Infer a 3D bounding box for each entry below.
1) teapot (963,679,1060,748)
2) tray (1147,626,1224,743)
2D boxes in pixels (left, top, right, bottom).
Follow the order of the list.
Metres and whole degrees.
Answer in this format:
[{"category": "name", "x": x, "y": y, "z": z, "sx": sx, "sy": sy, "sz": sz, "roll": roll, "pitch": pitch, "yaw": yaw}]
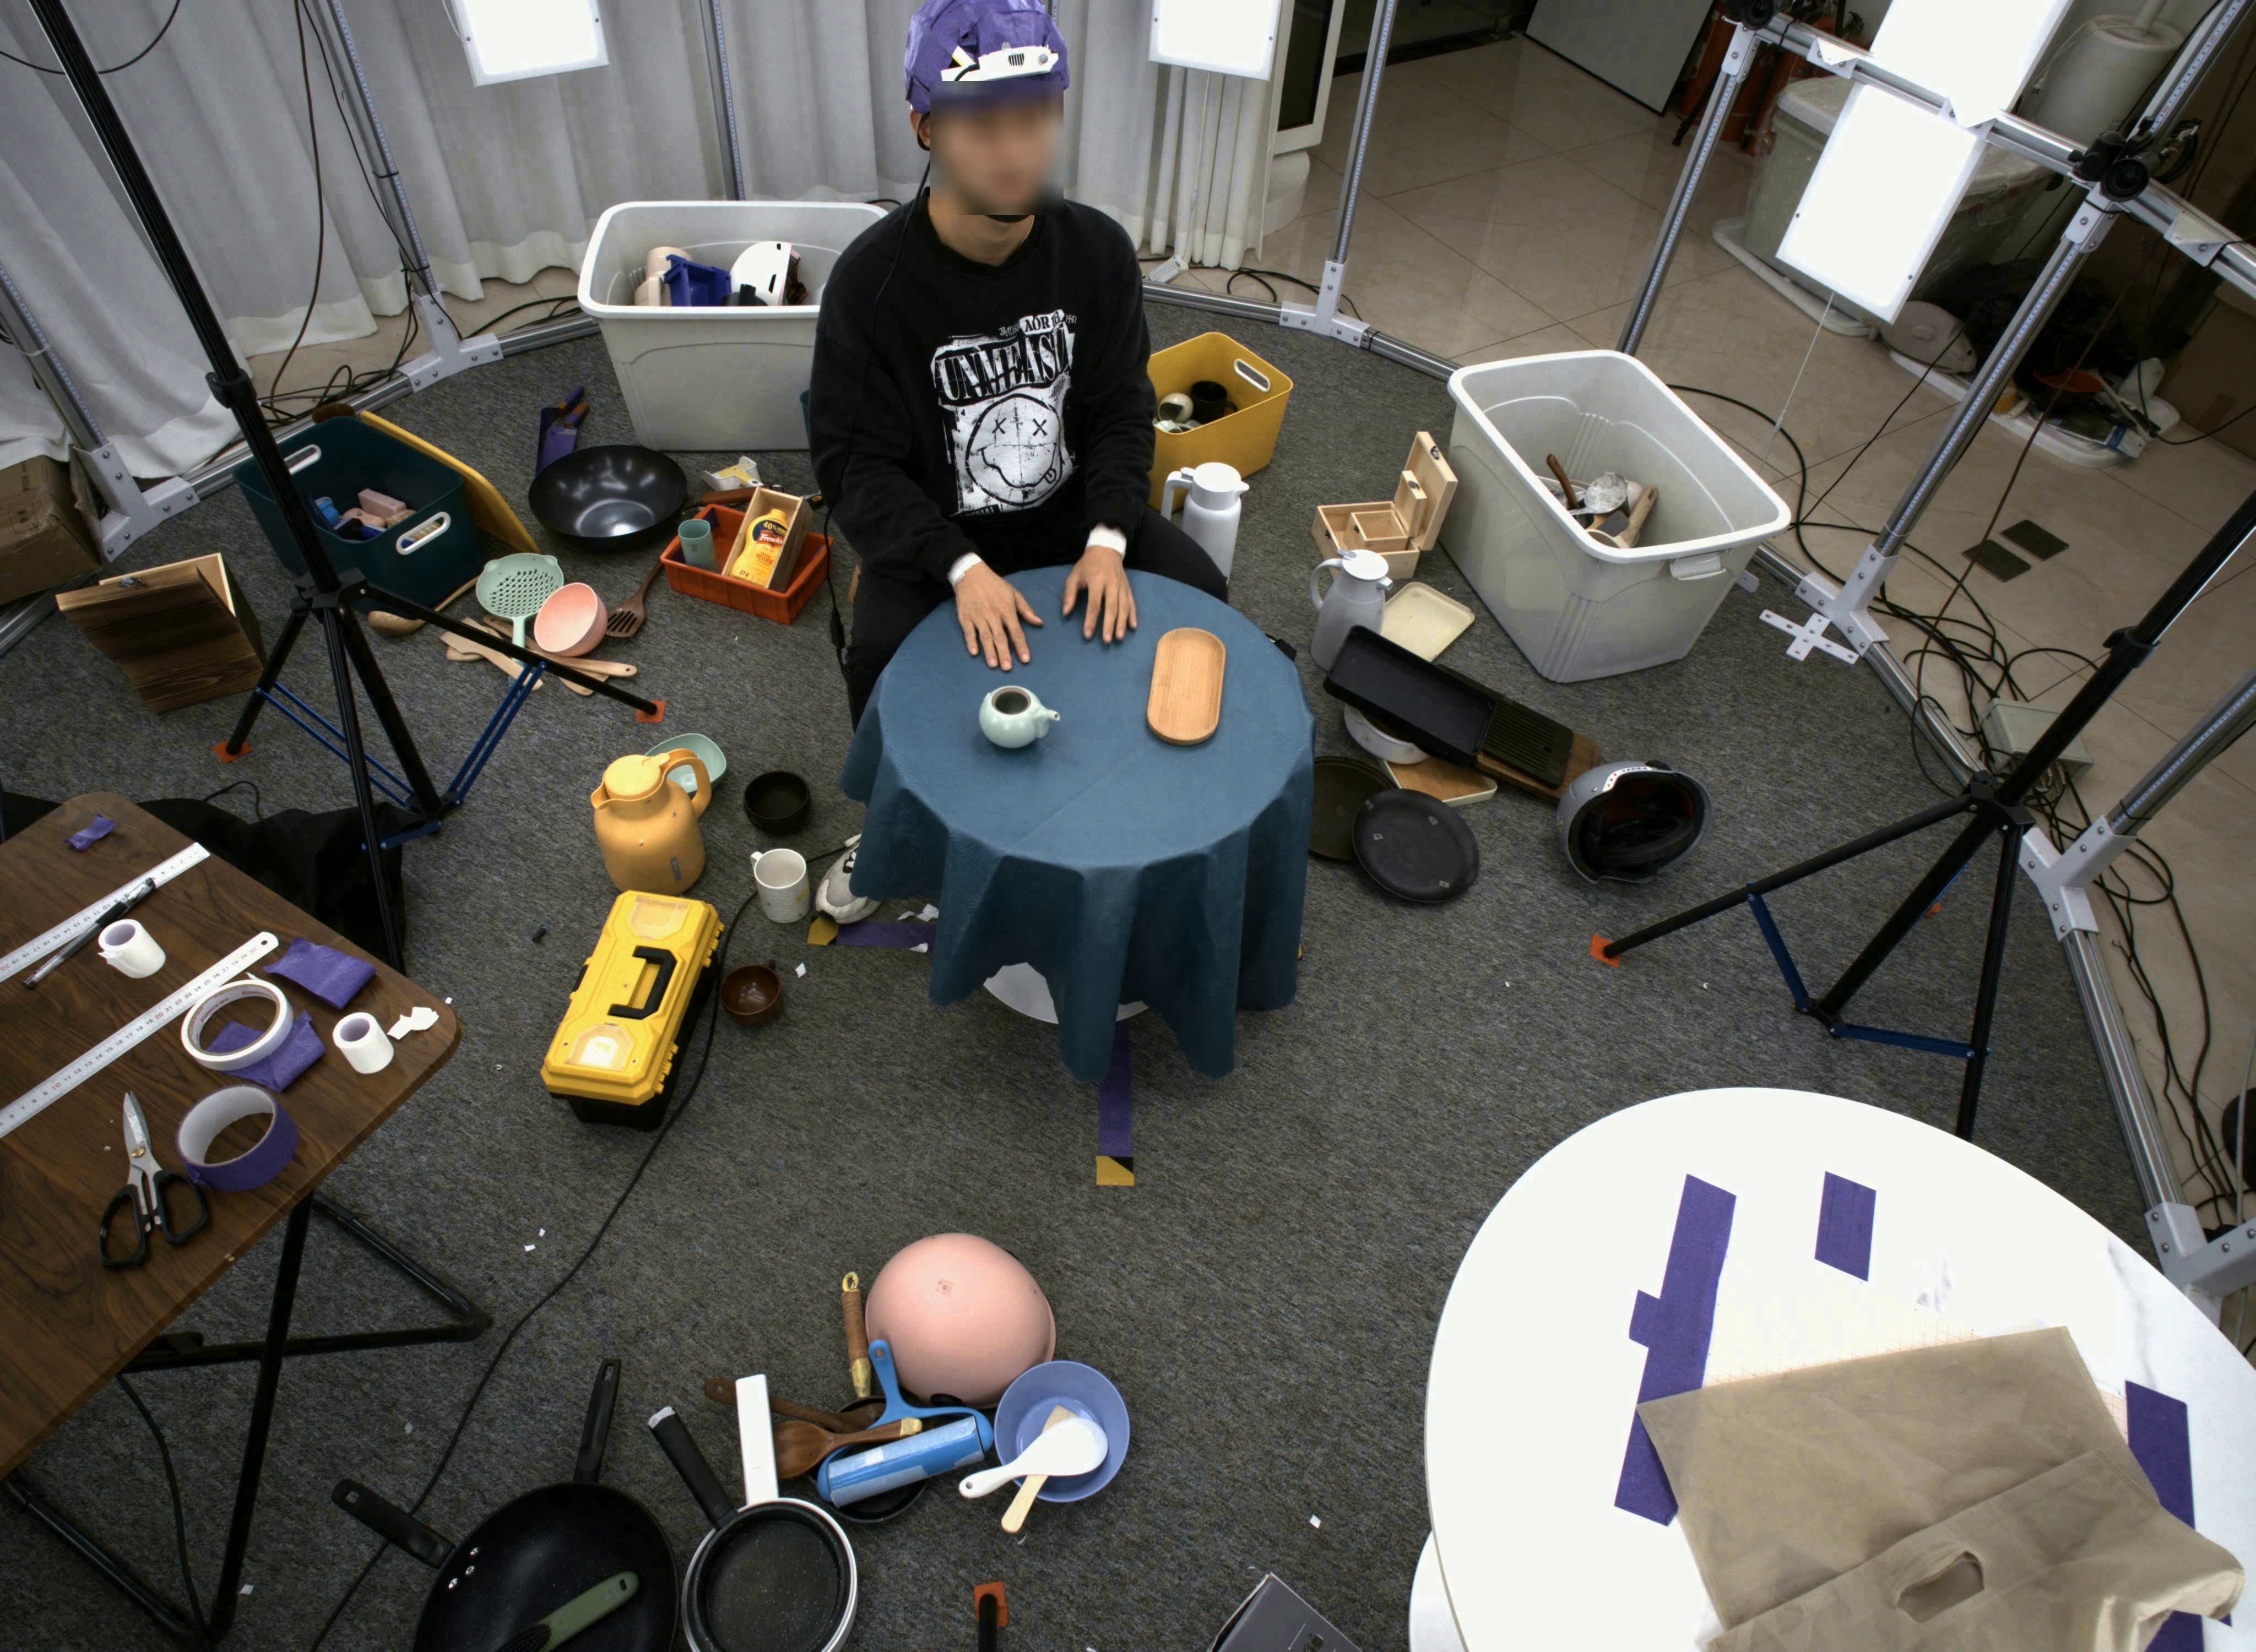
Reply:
[{"category": "teapot", "x": -0.158, "y": -0.149, "z": 1.743, "sx": 0.145, "sy": 0.073, "sz": 0.090, "roll": 24, "pitch": 51, "yaw": 14}, {"category": "tray", "x": 0.084, "y": -0.206, "z": 1.842, "sx": 0.101, "sy": 0.020, "sz": 0.237, "roll": 8, "pitch": 48, "yaw": 1}]
